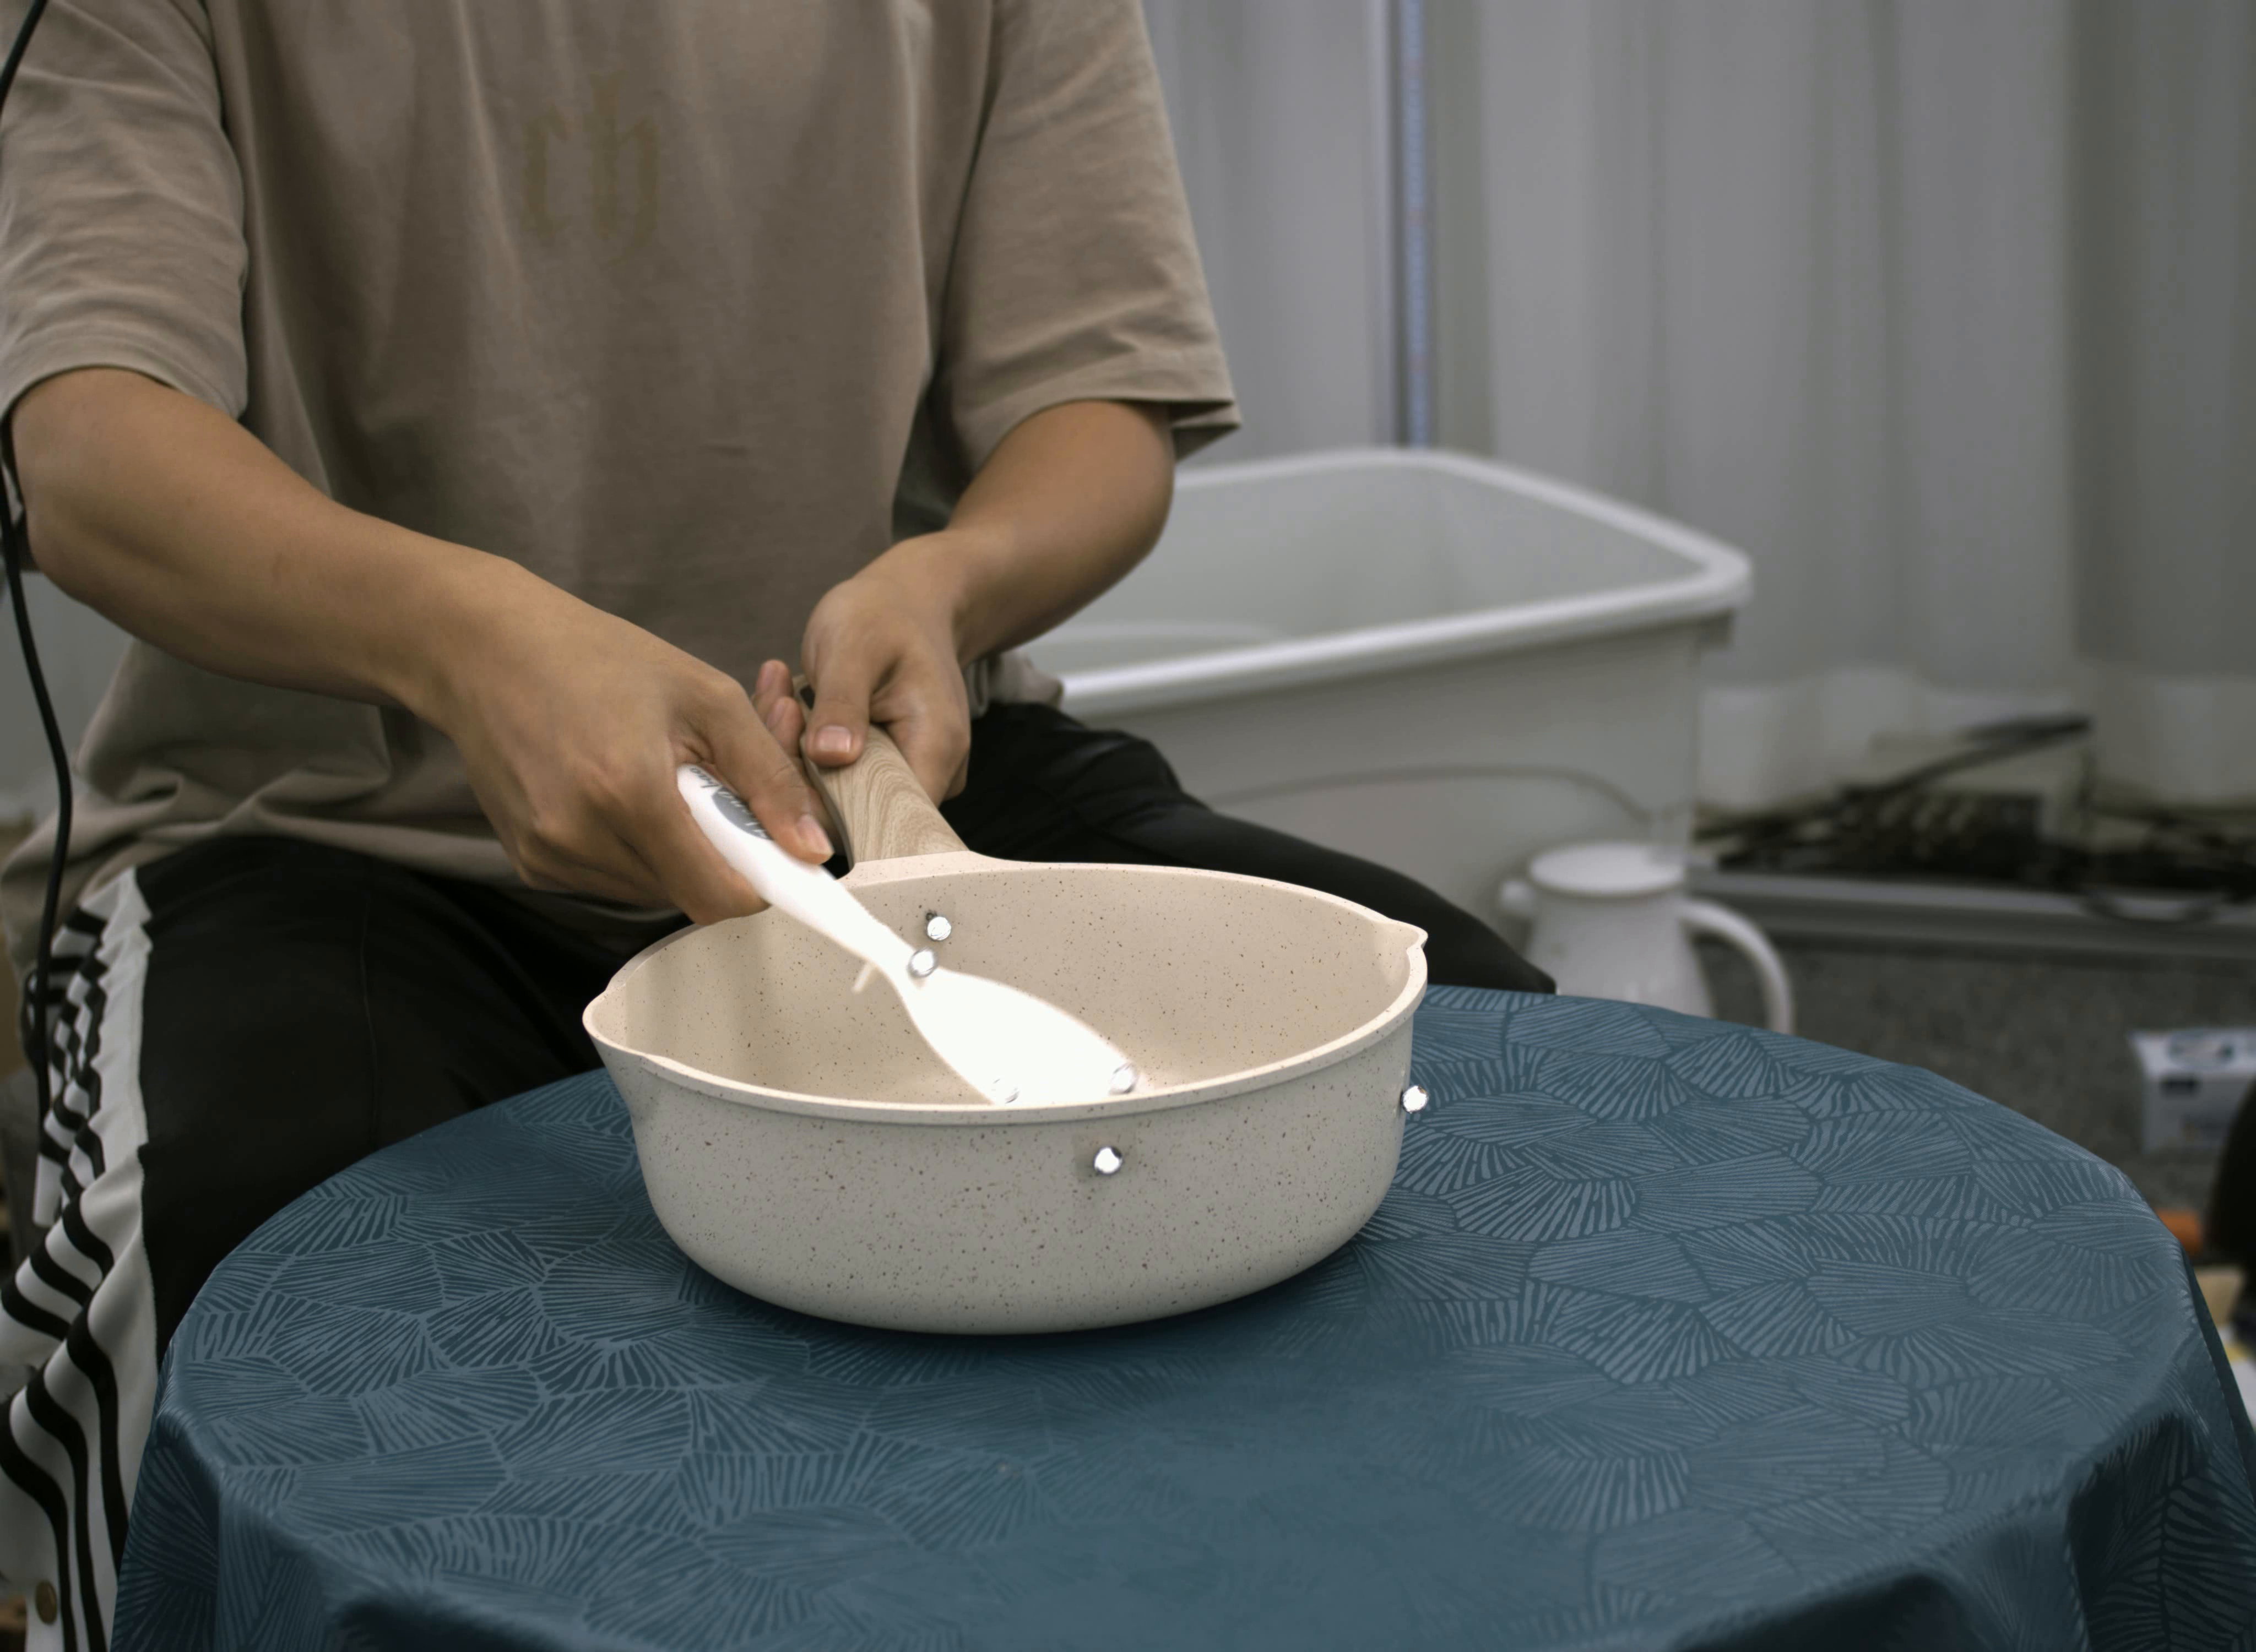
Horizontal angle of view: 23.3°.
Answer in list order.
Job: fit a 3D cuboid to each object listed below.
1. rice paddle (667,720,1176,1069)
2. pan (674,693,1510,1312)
[{"bbox_3d":[-0.054,0.037,1.709,0.206,0.029,0.069,36,27,8],"label":"rice paddle"},{"bbox_3d":[-0.030,0.051,1.761,0.262,0.101,0.438,-9,15,-13],"label":"pan"}]
